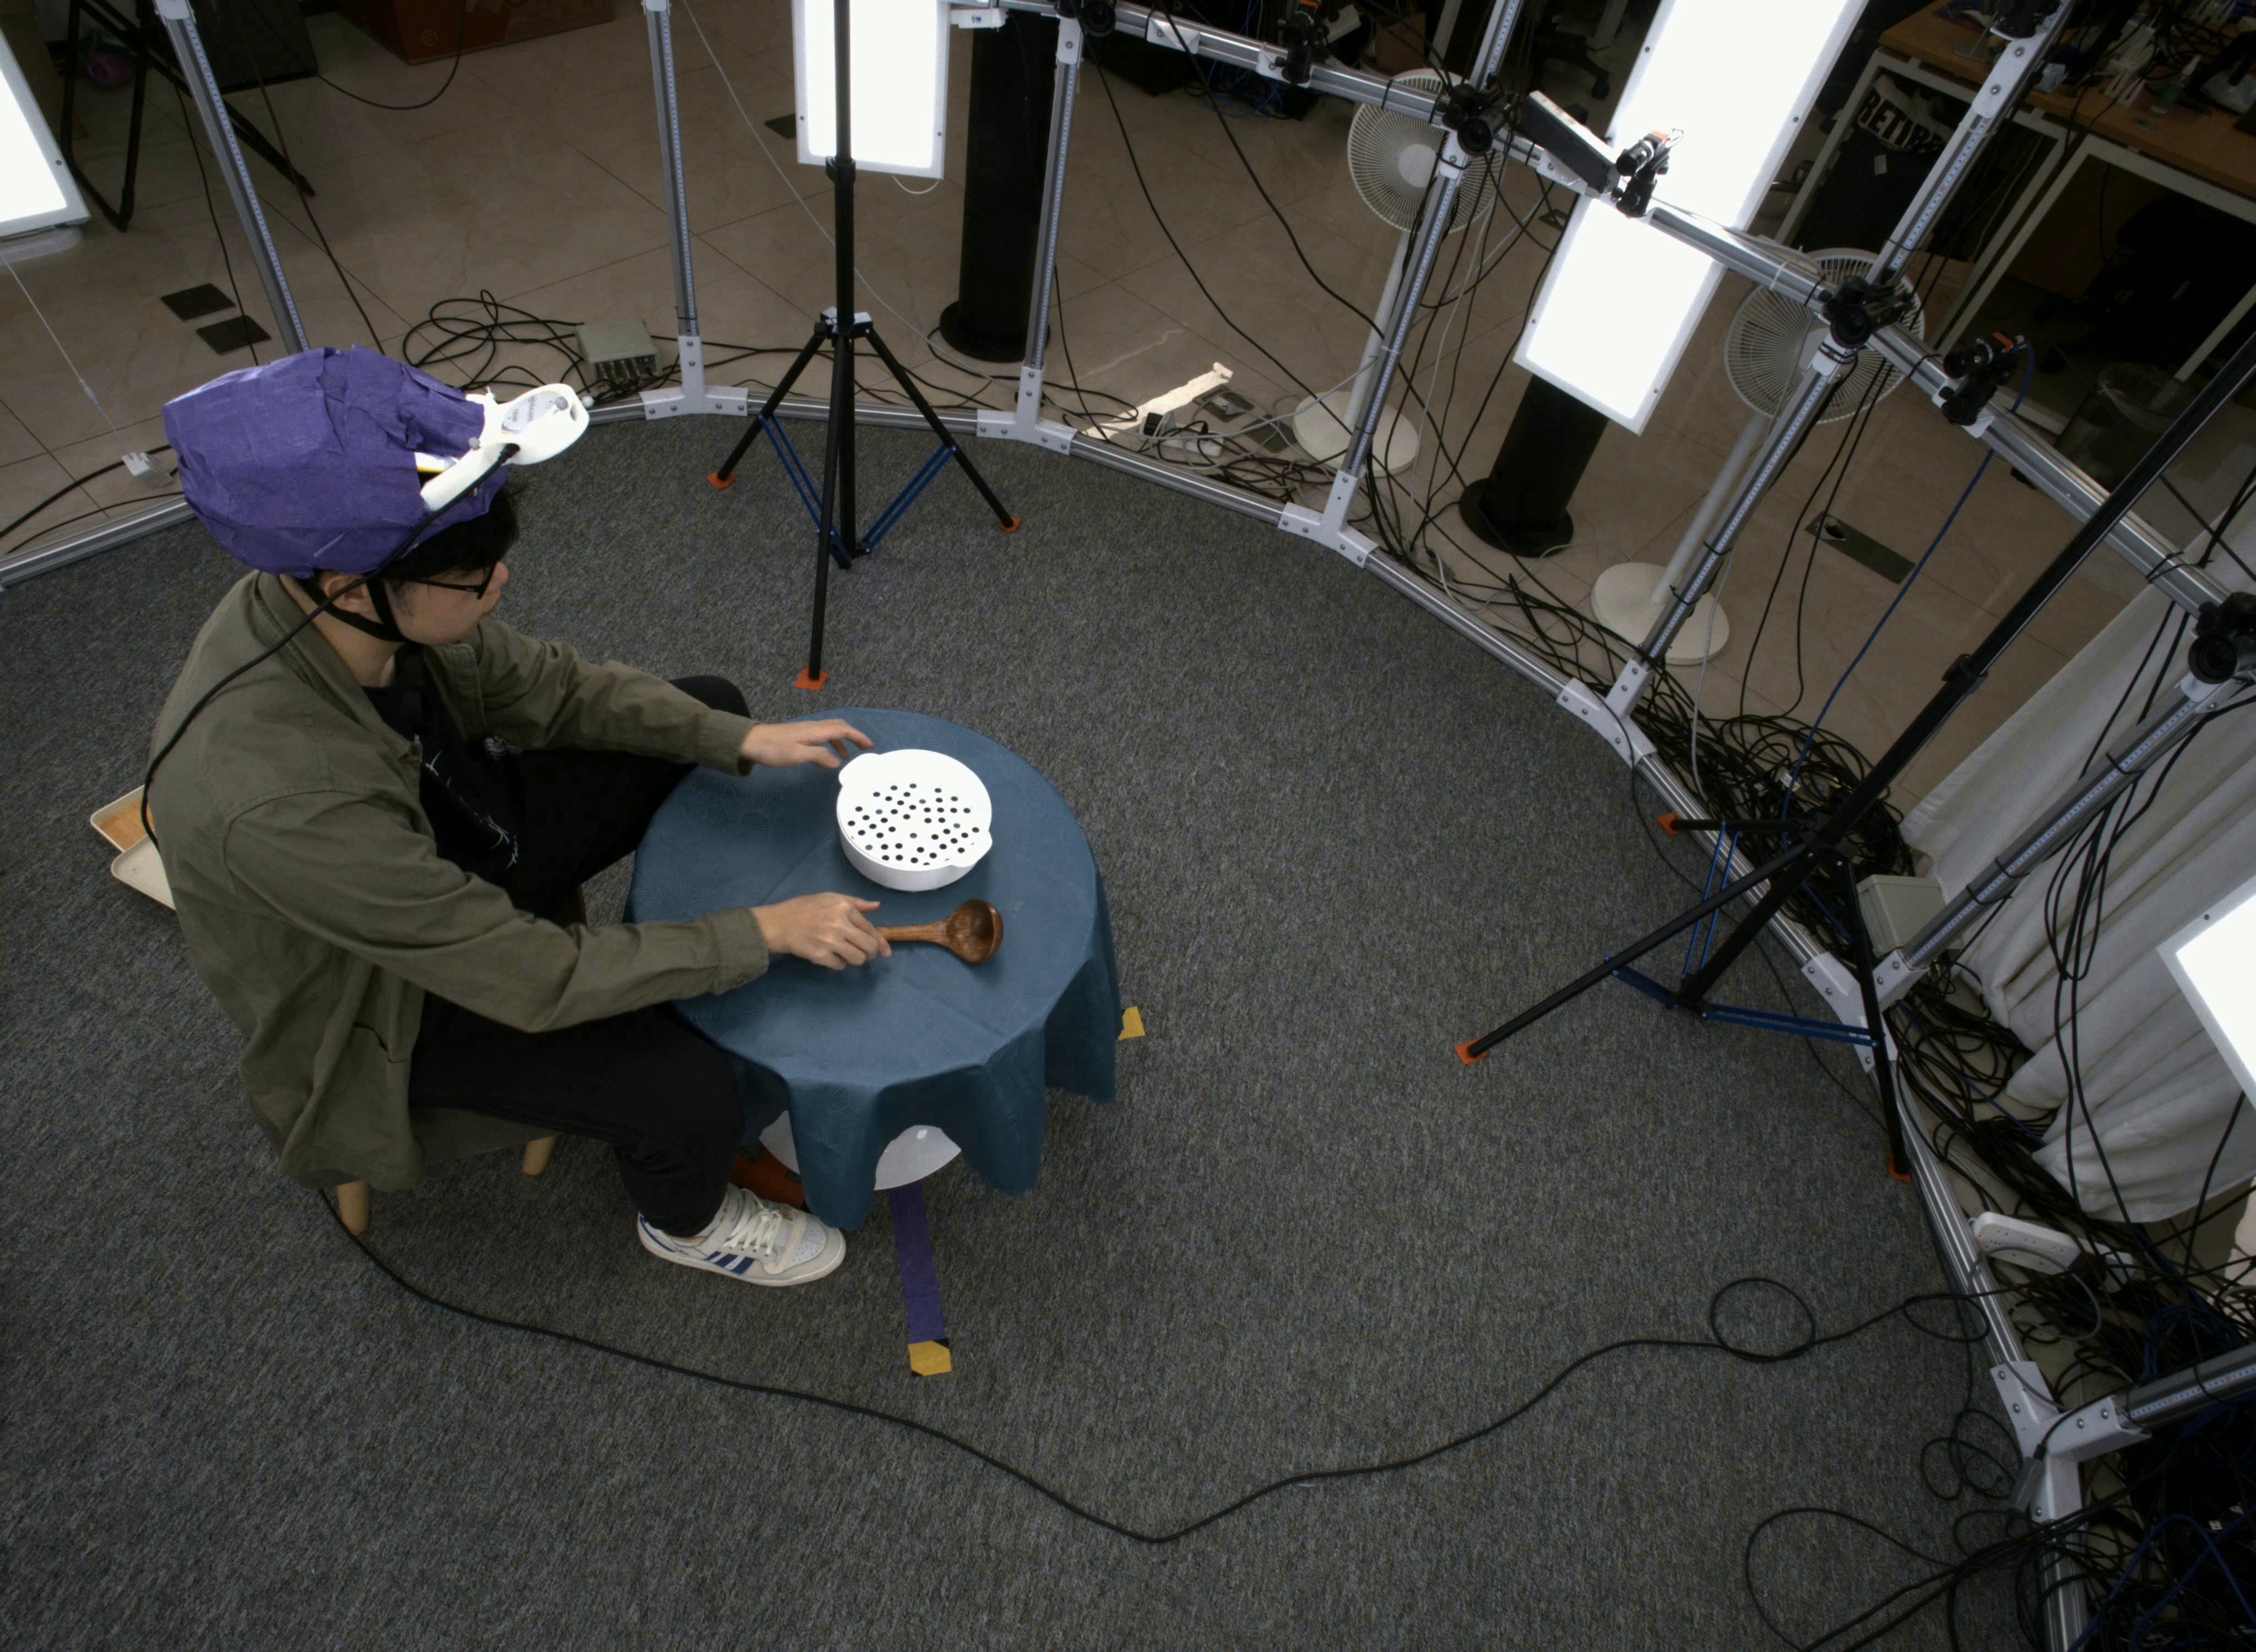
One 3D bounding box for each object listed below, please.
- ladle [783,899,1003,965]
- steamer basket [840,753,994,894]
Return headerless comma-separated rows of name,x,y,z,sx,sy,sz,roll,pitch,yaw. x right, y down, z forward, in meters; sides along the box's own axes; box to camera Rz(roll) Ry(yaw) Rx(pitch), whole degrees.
ladle,-0.294,0.134,1.628,0.274,0.076,0.082,-1,79,-14
steamer basket,-0.281,-0.003,1.735,0.226,0.071,0.202,34,54,14
